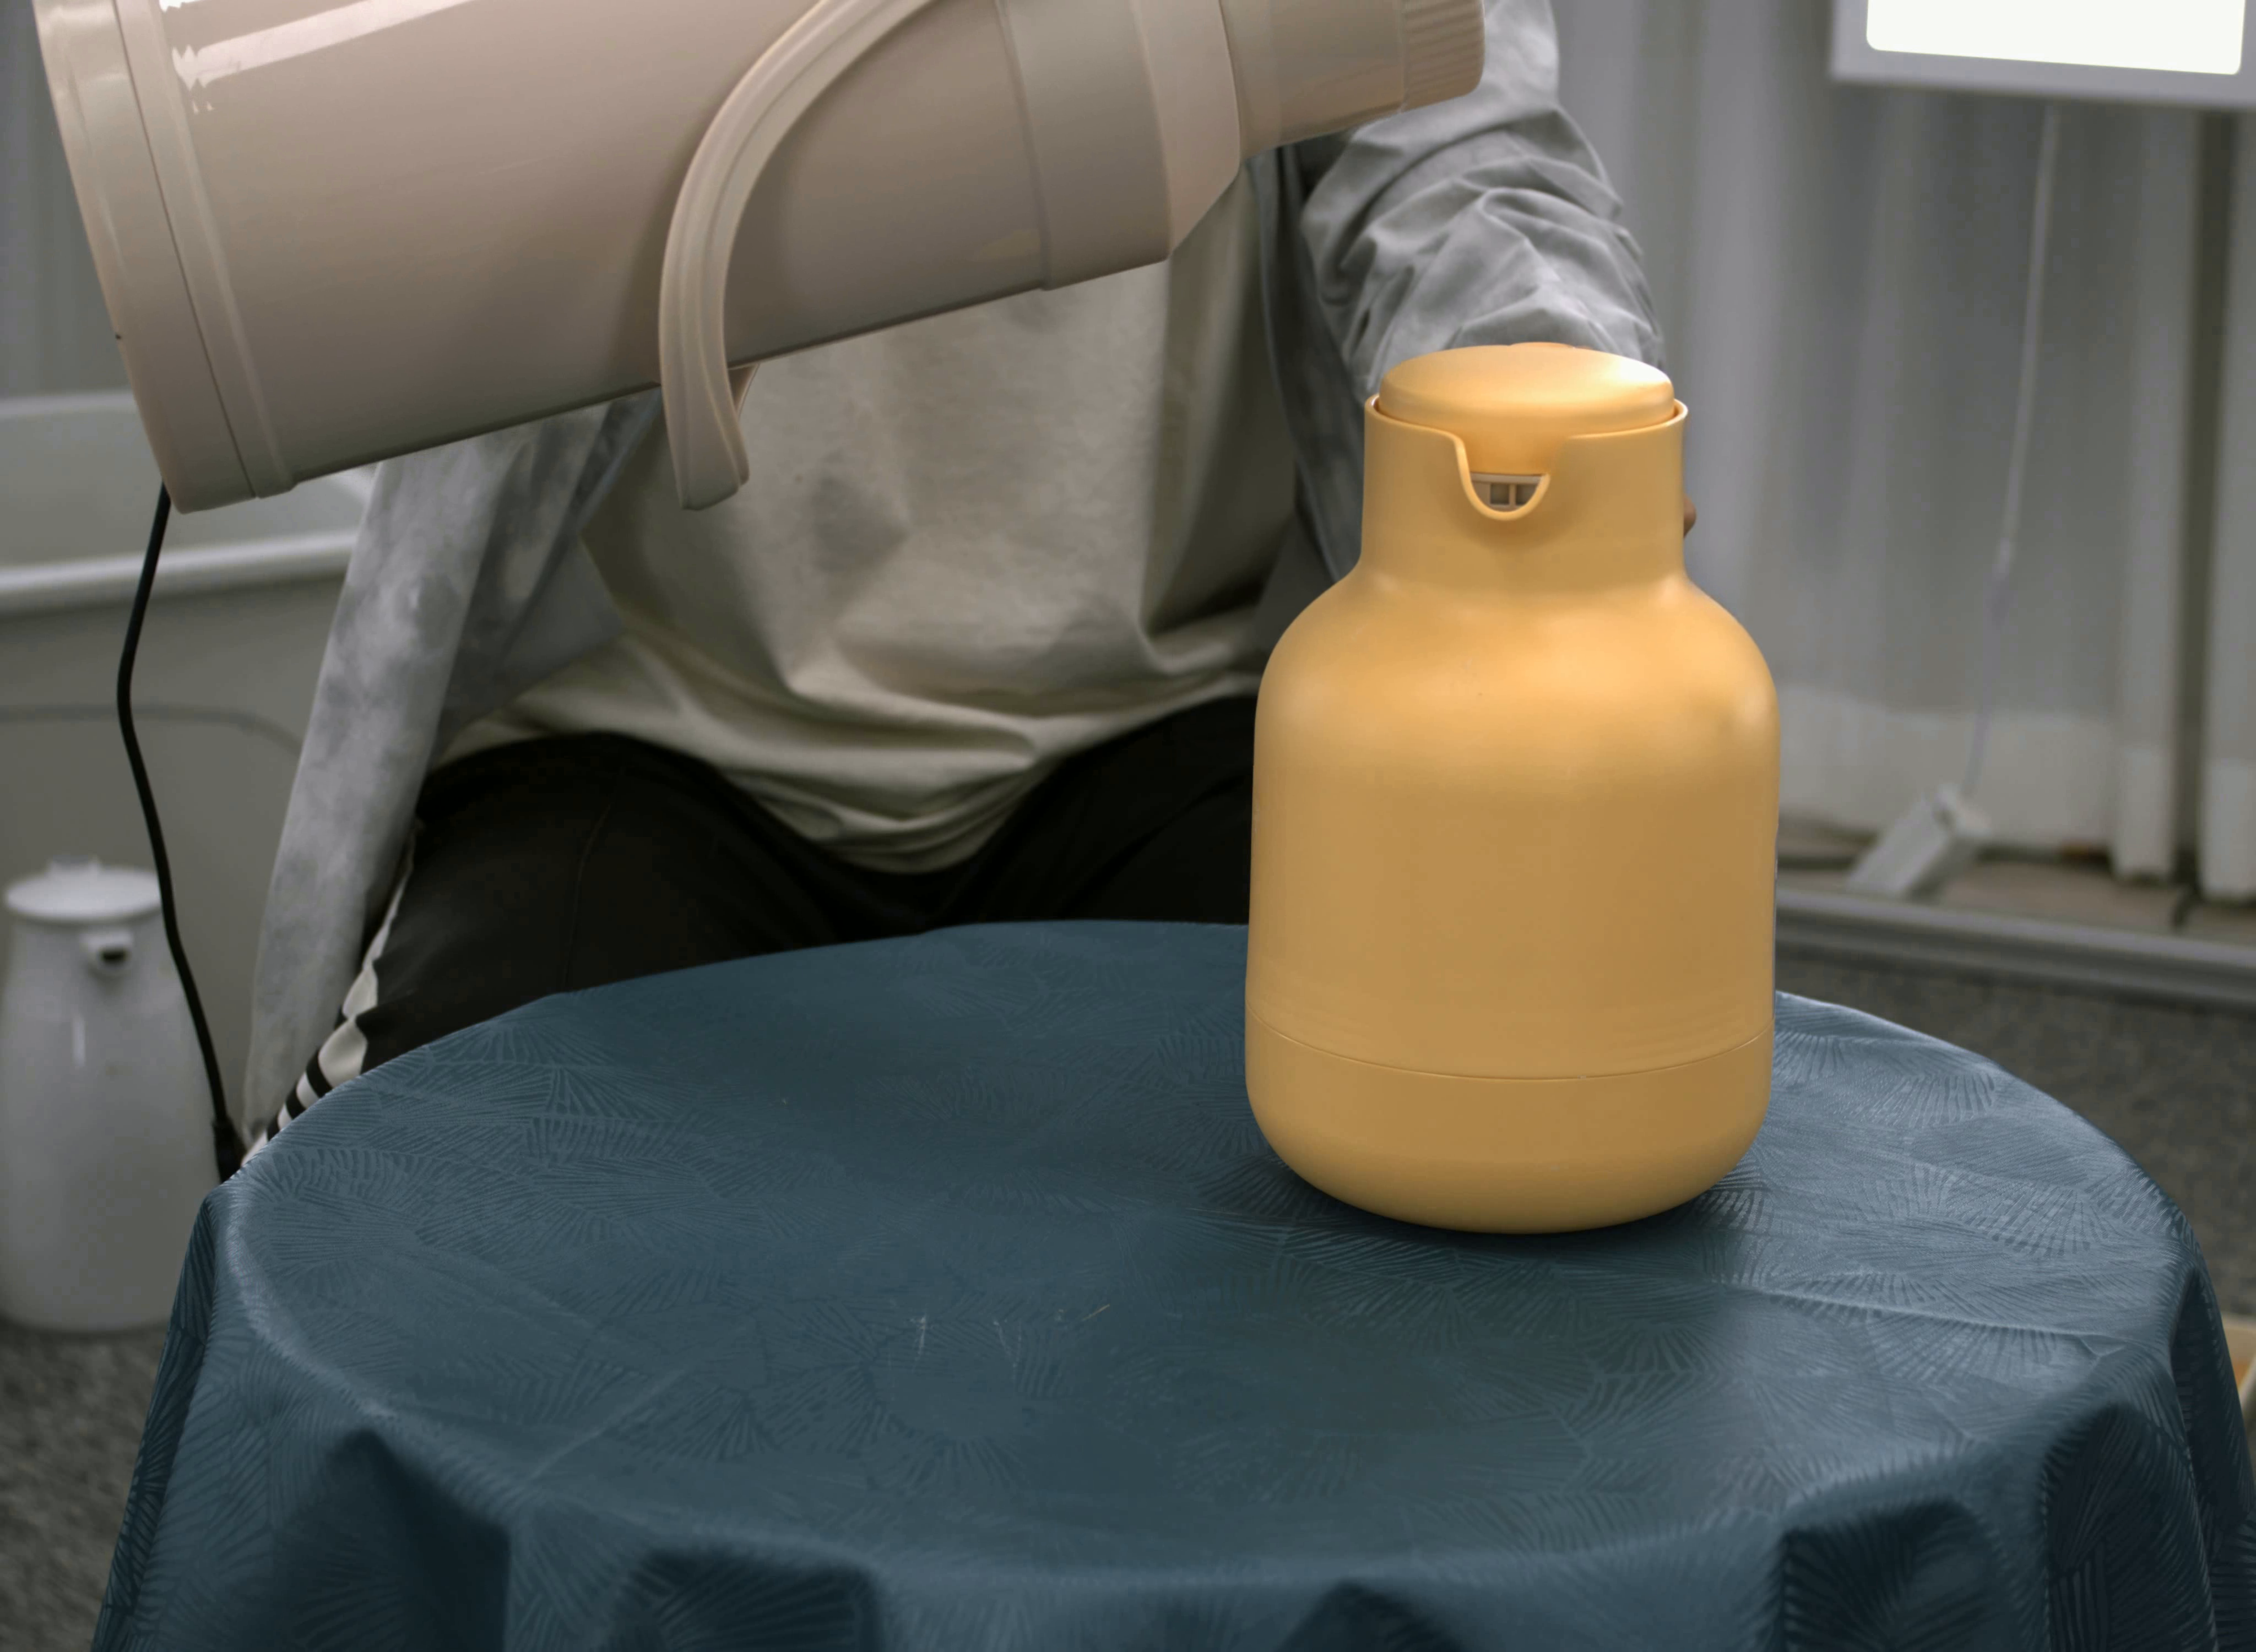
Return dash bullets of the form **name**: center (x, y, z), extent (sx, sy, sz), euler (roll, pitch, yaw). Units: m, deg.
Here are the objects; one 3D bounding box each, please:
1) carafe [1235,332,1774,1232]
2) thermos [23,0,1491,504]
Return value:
- **carafe**: center (0.121, -0.022, 1.623), extent (0.162, 0.262, 0.202), euler (5, 18, 9)
- **thermos**: center (-0.106, -0.231, 1.524), extent (0.405, 0.206, 0.176), euler (-15, -12, -5)
